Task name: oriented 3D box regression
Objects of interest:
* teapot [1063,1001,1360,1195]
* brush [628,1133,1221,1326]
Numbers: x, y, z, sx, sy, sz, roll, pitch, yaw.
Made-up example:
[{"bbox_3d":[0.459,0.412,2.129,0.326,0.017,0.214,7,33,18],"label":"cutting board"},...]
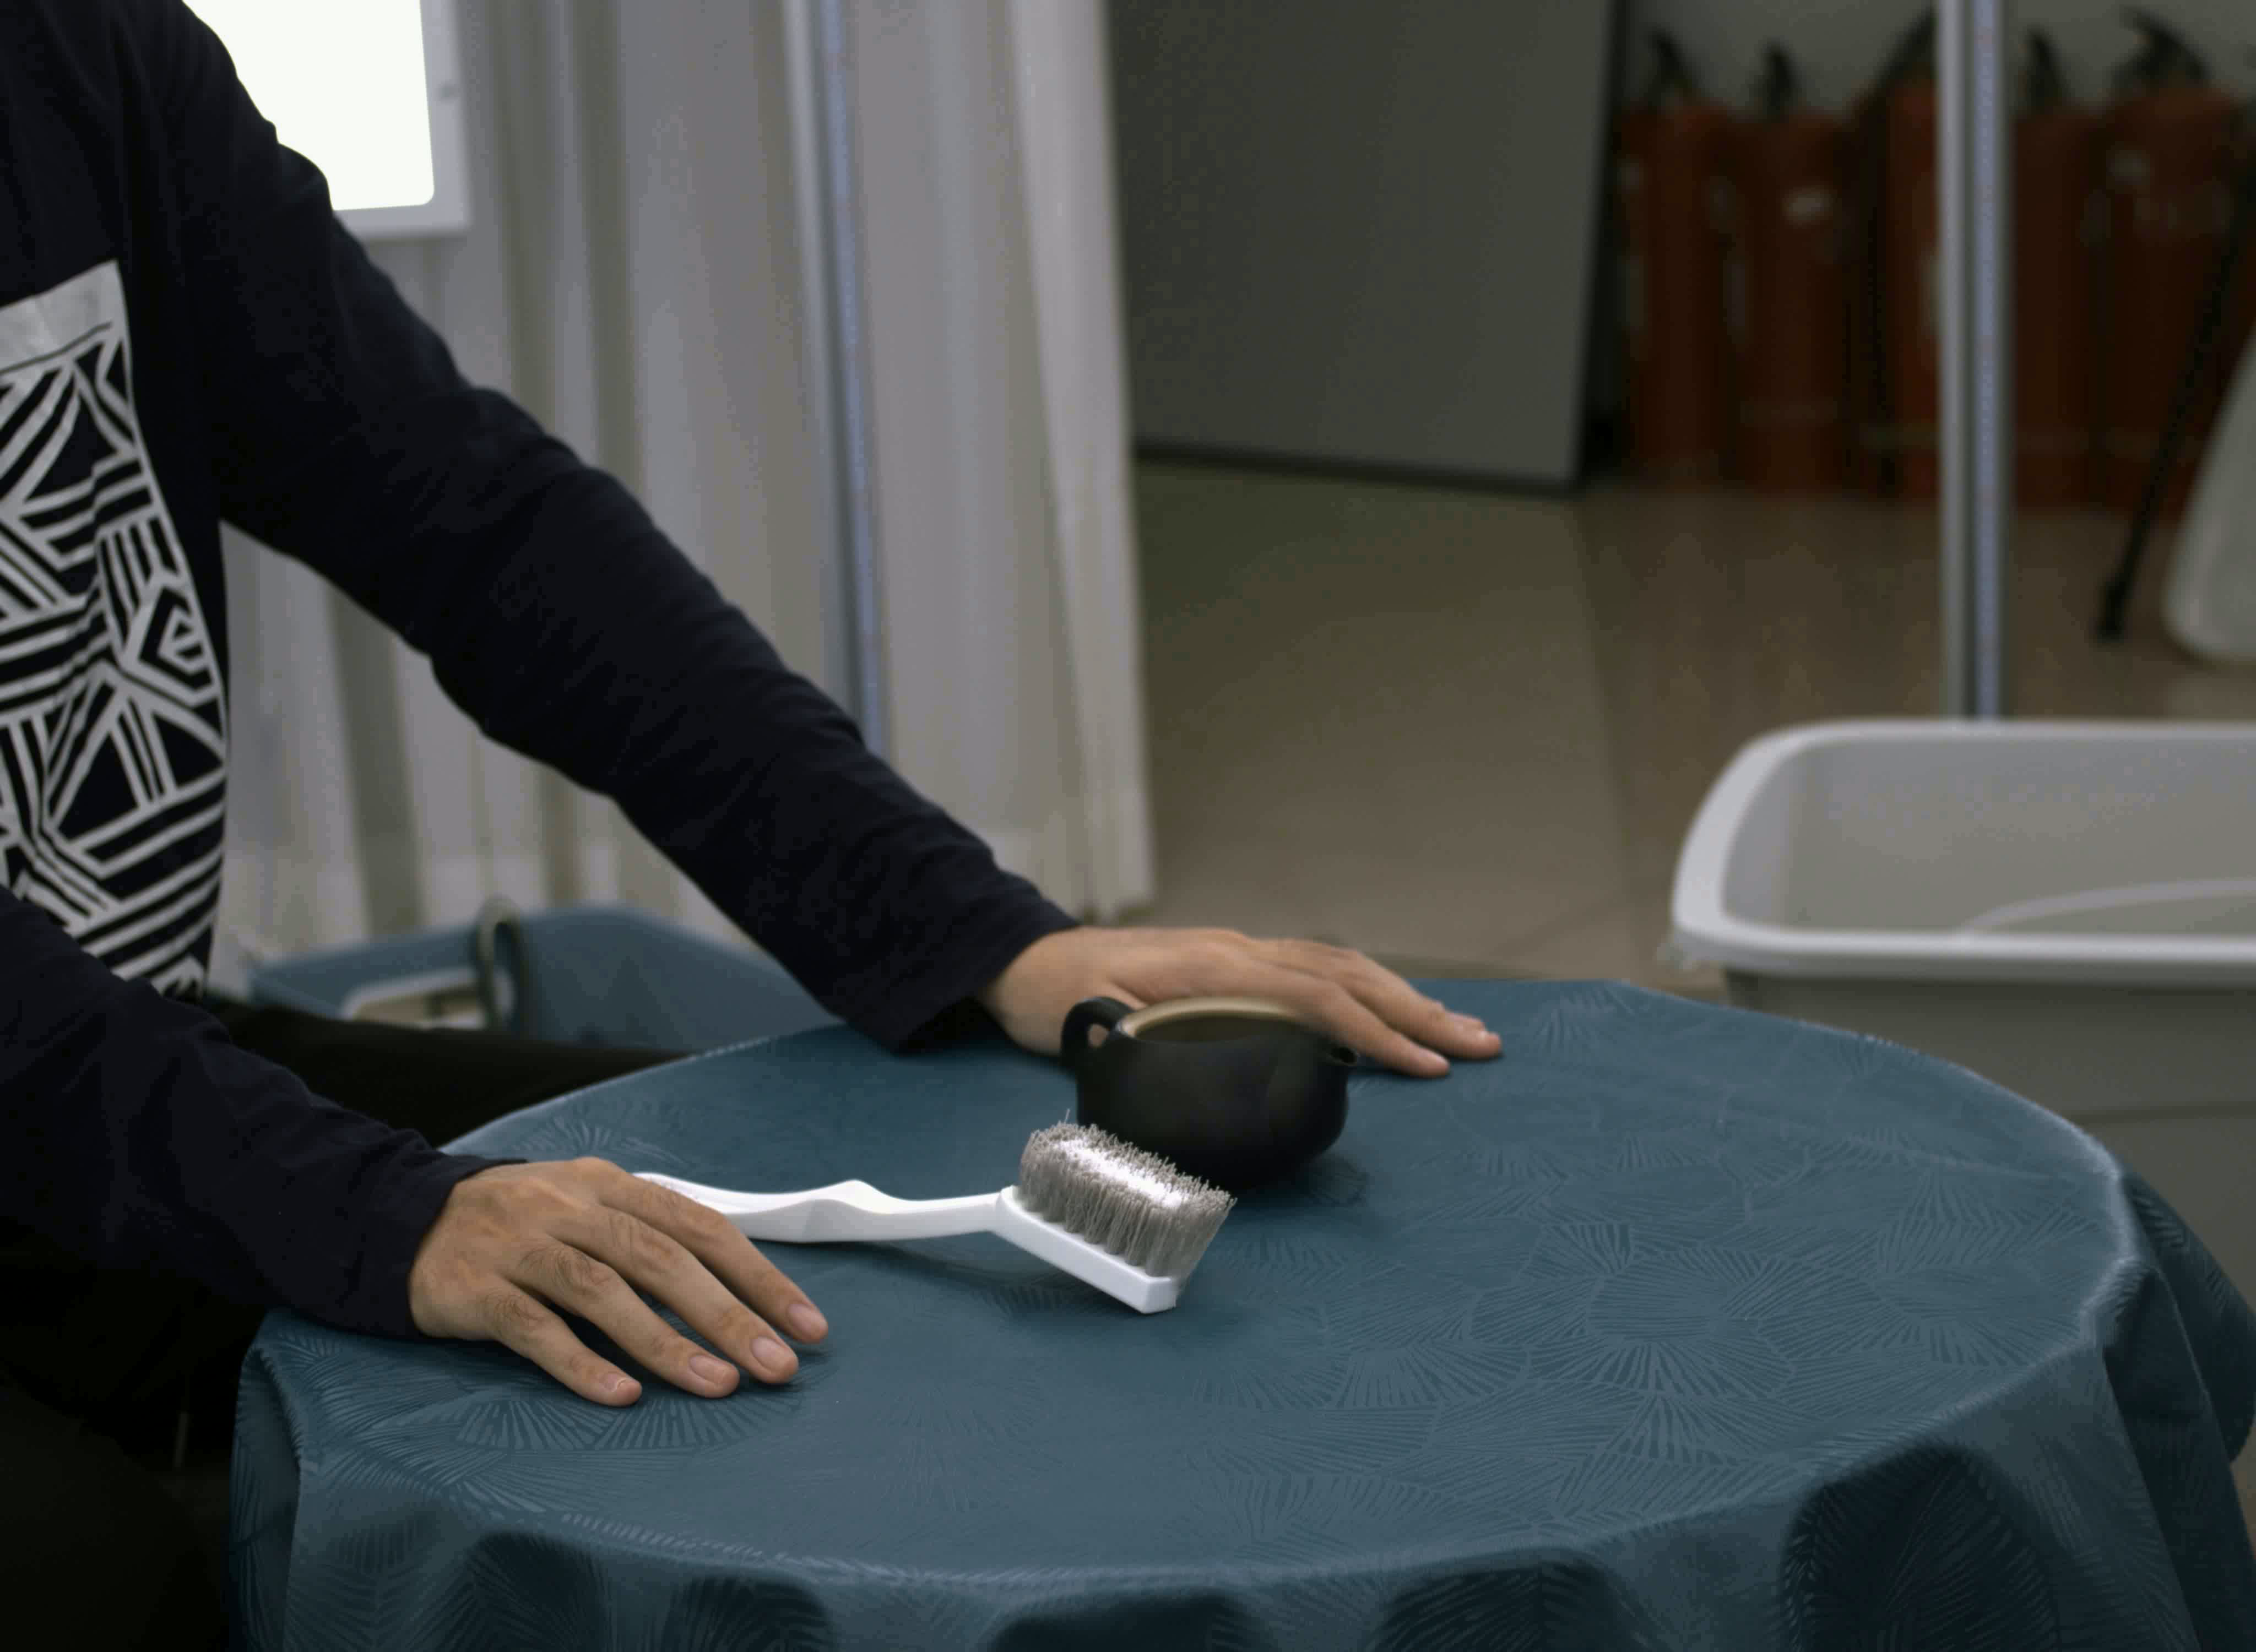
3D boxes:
[{"bbox_3d":[0.027,0.090,1.784,0.134,0.053,0.089,9,15,44],"label":"teapot"},{"bbox_3d":[-0.071,0.115,1.722,0.245,0.051,0.034,8,22,40],"label":"brush"}]
